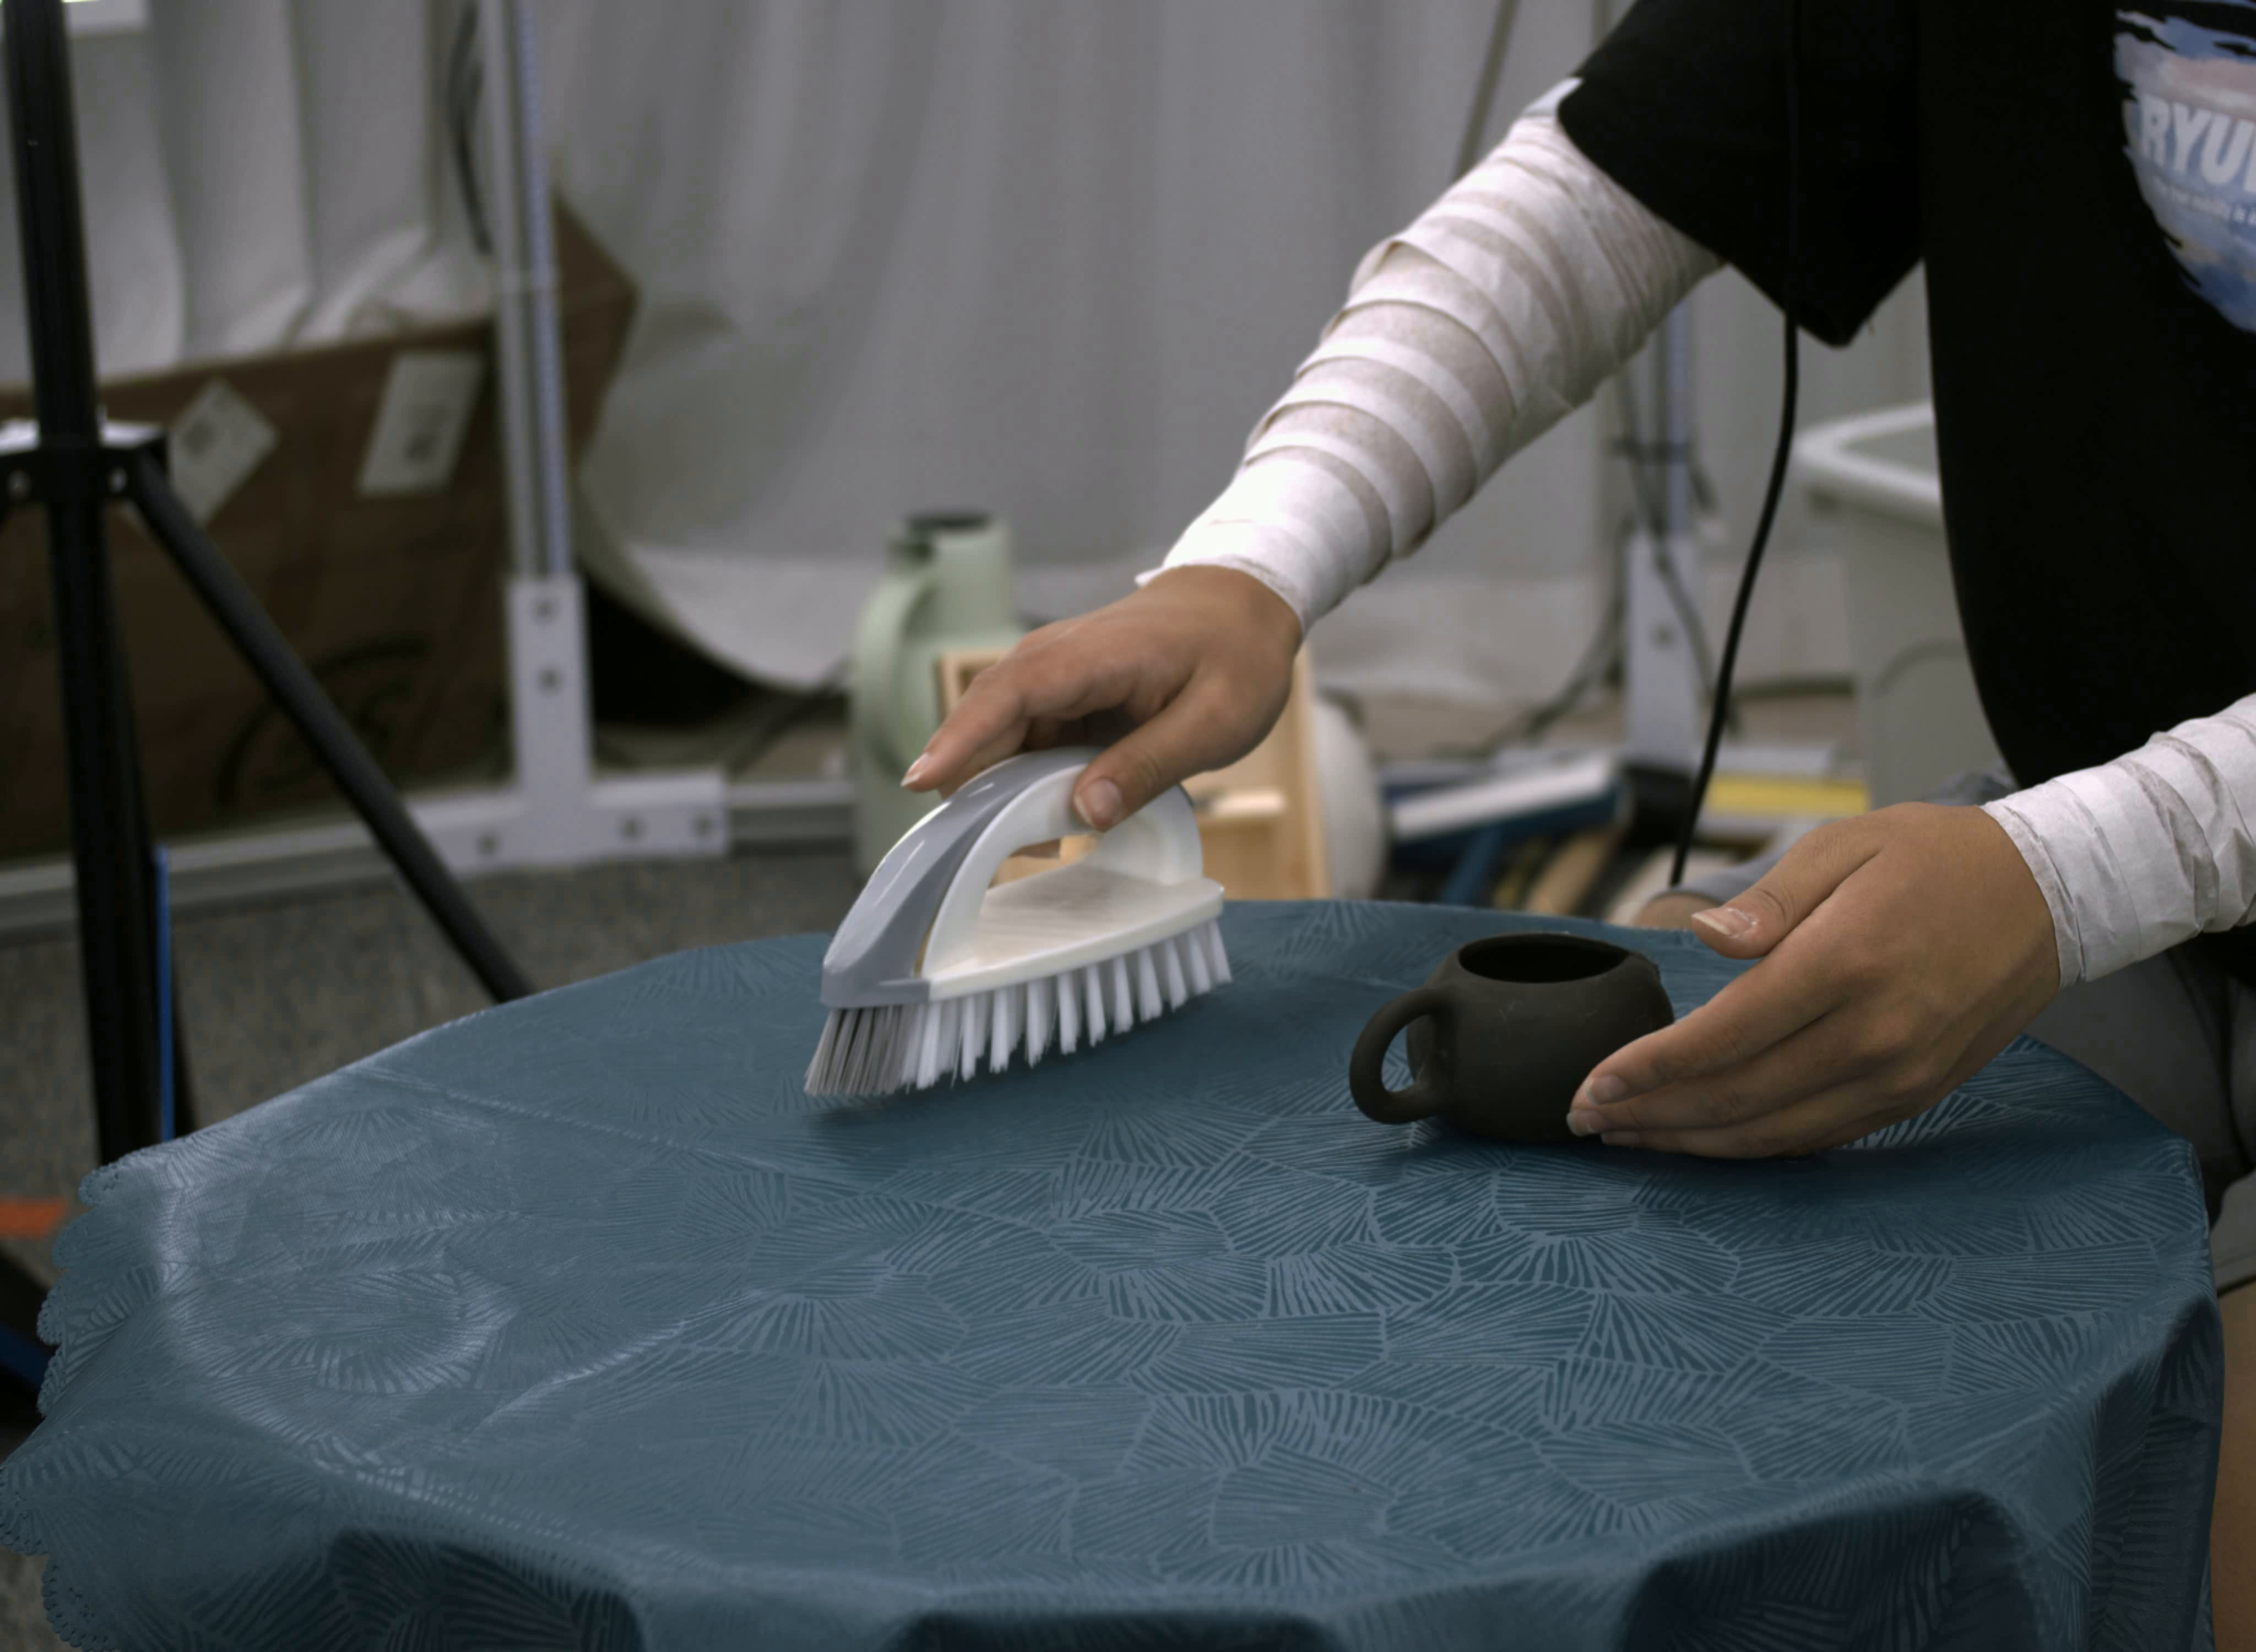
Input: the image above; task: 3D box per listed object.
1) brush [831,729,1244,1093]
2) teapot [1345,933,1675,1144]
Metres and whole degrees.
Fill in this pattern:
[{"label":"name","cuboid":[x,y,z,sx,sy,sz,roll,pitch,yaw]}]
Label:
[{"label":"brush","cuboid":[-0.035,0.023,1.675,0.063,0.094,0.171,9,19,40]},{"label":"teapot","cuboid":[0.114,0.066,1.600,0.111,0.053,0.085,-9,16,-28]}]
